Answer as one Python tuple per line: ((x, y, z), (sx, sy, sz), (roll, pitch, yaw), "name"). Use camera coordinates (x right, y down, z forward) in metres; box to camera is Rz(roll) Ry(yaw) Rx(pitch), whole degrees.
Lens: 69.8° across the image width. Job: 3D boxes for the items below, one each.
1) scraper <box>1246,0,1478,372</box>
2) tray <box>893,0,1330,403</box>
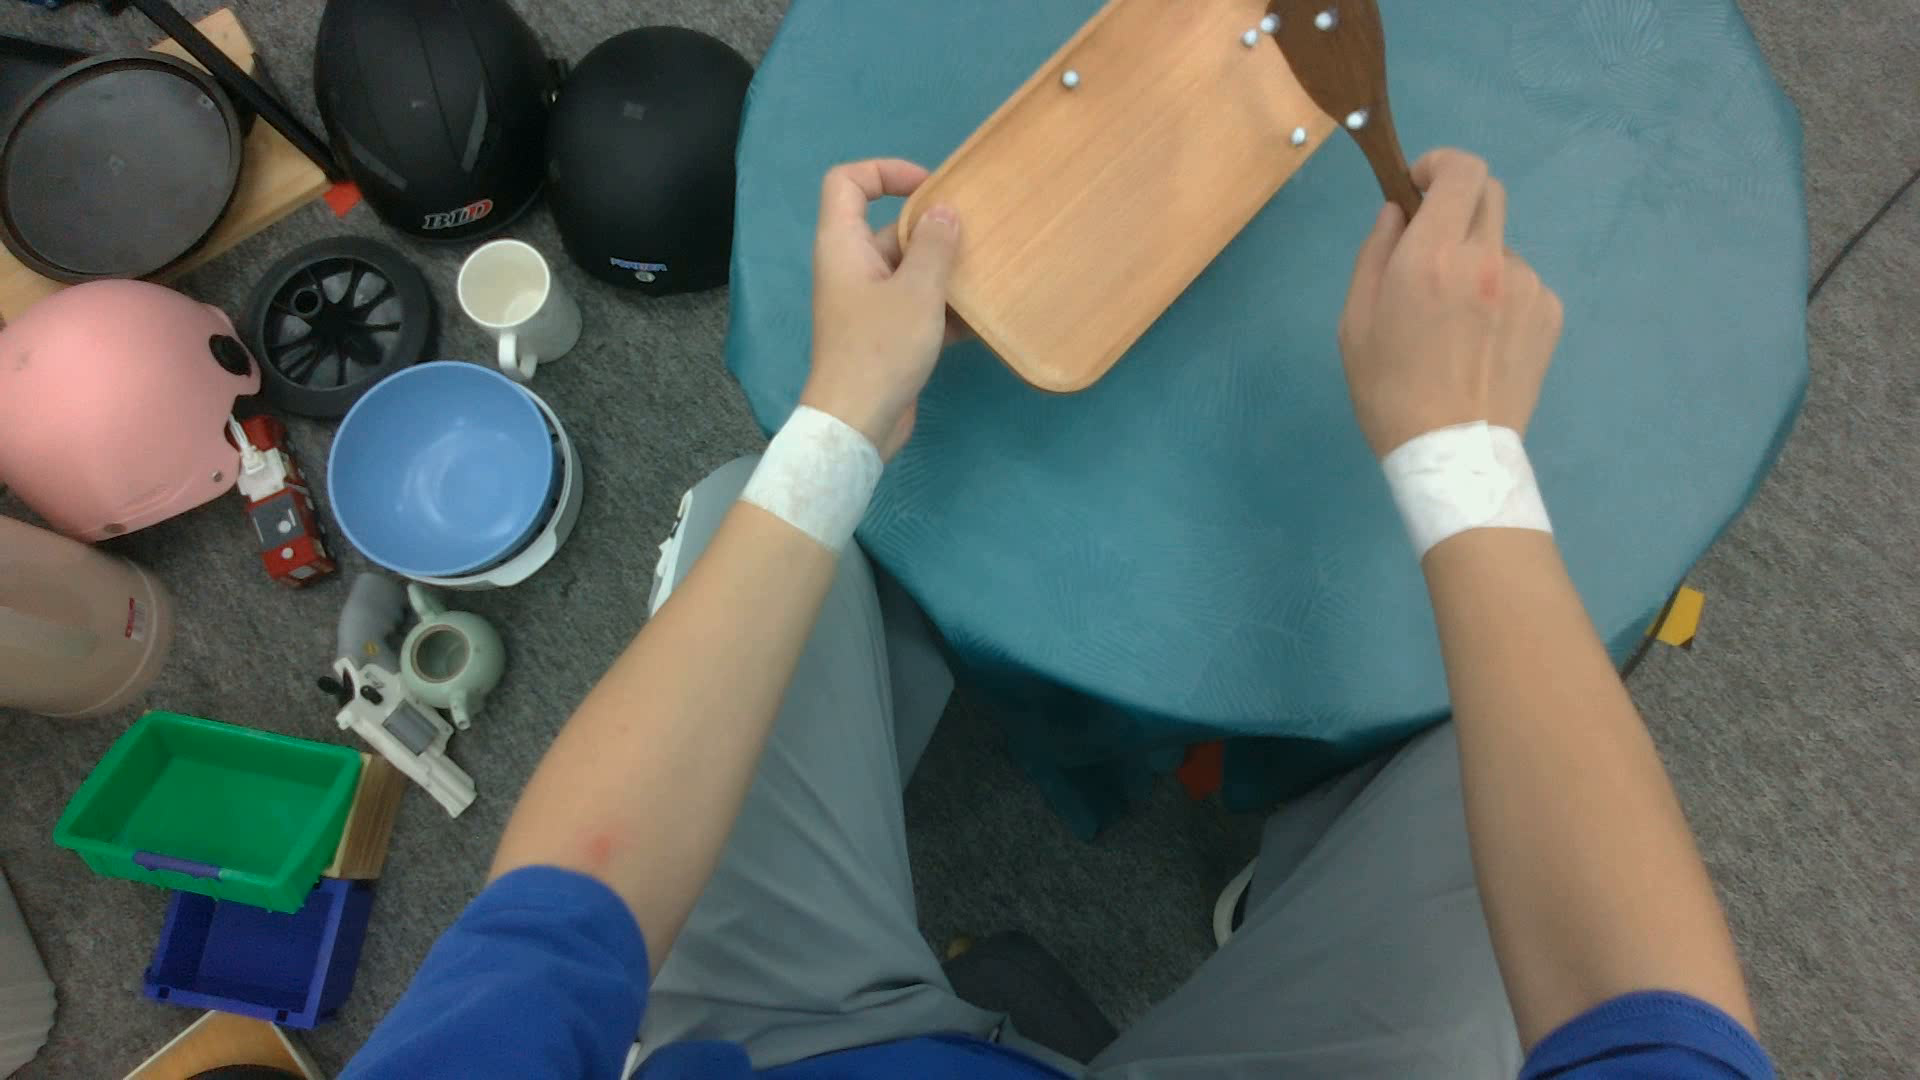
((0.196, -0.178, 0.662), (0.011, 0.075, 0.211), (-22, 83, -16), "scraper")
((0.084, -0.187, 0.707), (0.130, 0.023, 0.251), (44, 75, 1), "tray")
